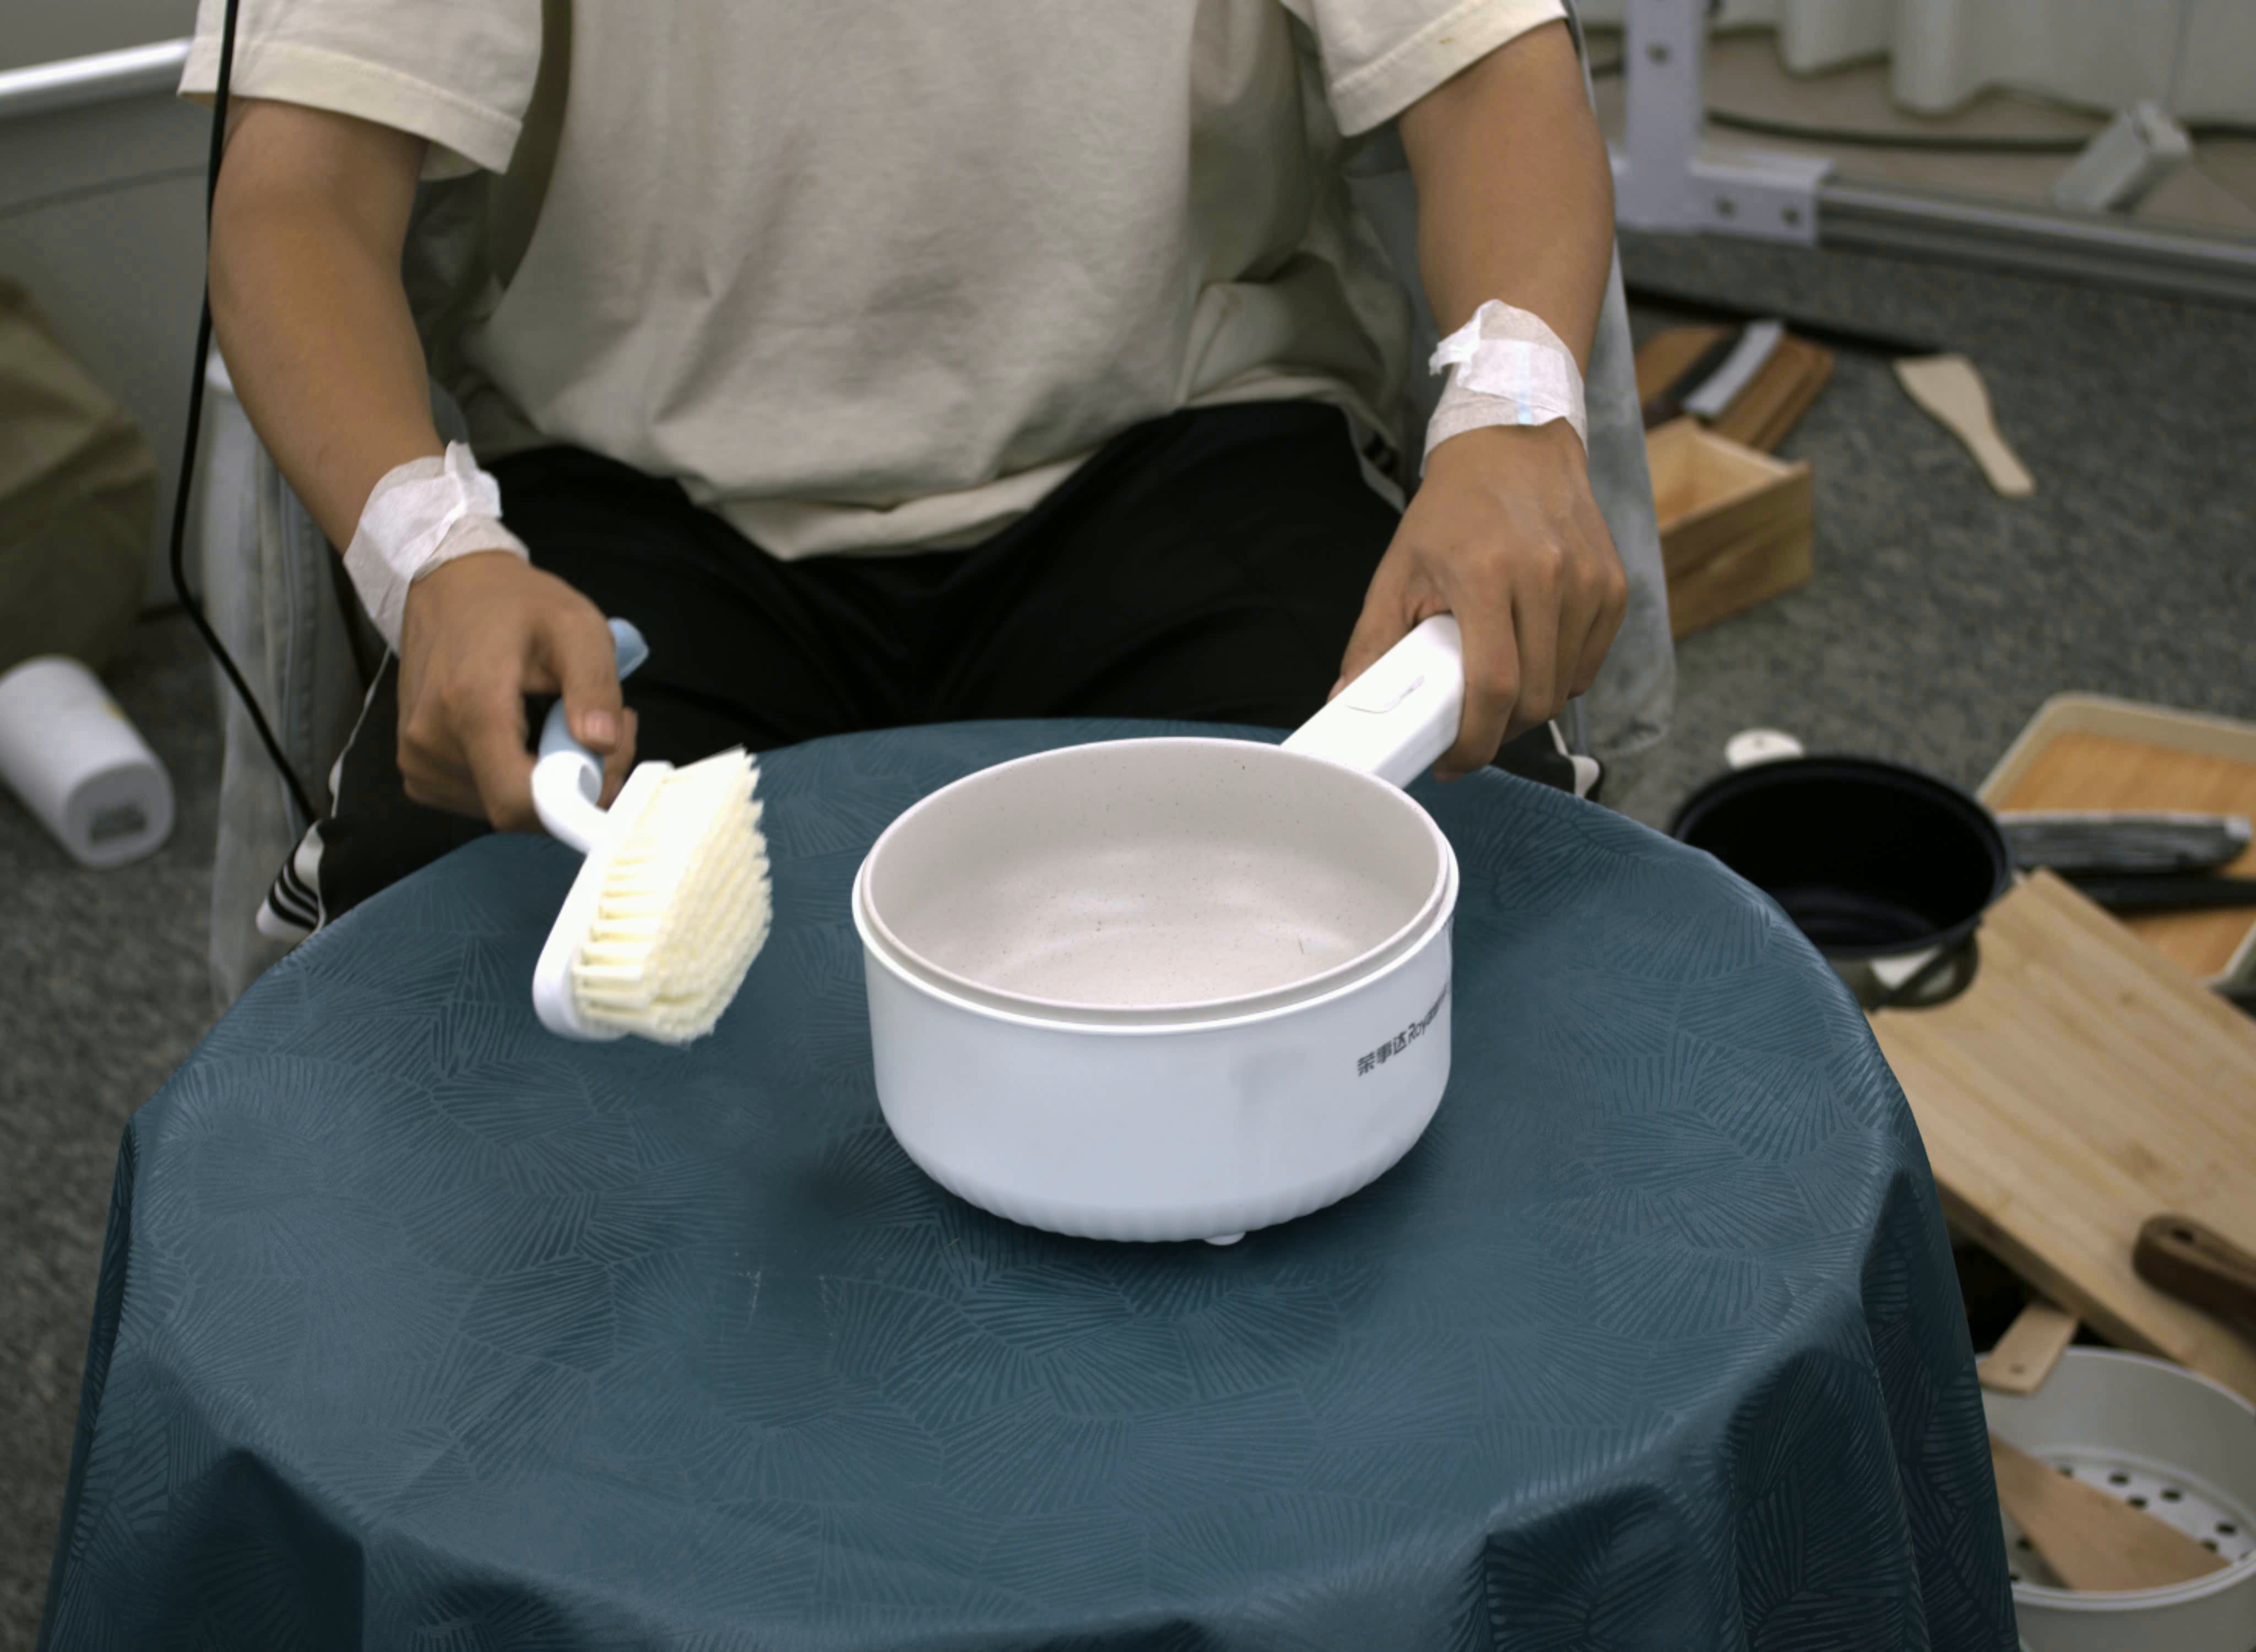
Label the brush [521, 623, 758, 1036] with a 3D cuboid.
[{"bbox_3d":[-0.155,-0.012,1.908,0.084,0.082,0.329,31,17,-13],"label":"brush"}]

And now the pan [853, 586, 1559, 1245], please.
[{"bbox_3d":[0.049,0.027,1.932,0.200,0.101,0.360,12,29,28],"label":"pan"}]
